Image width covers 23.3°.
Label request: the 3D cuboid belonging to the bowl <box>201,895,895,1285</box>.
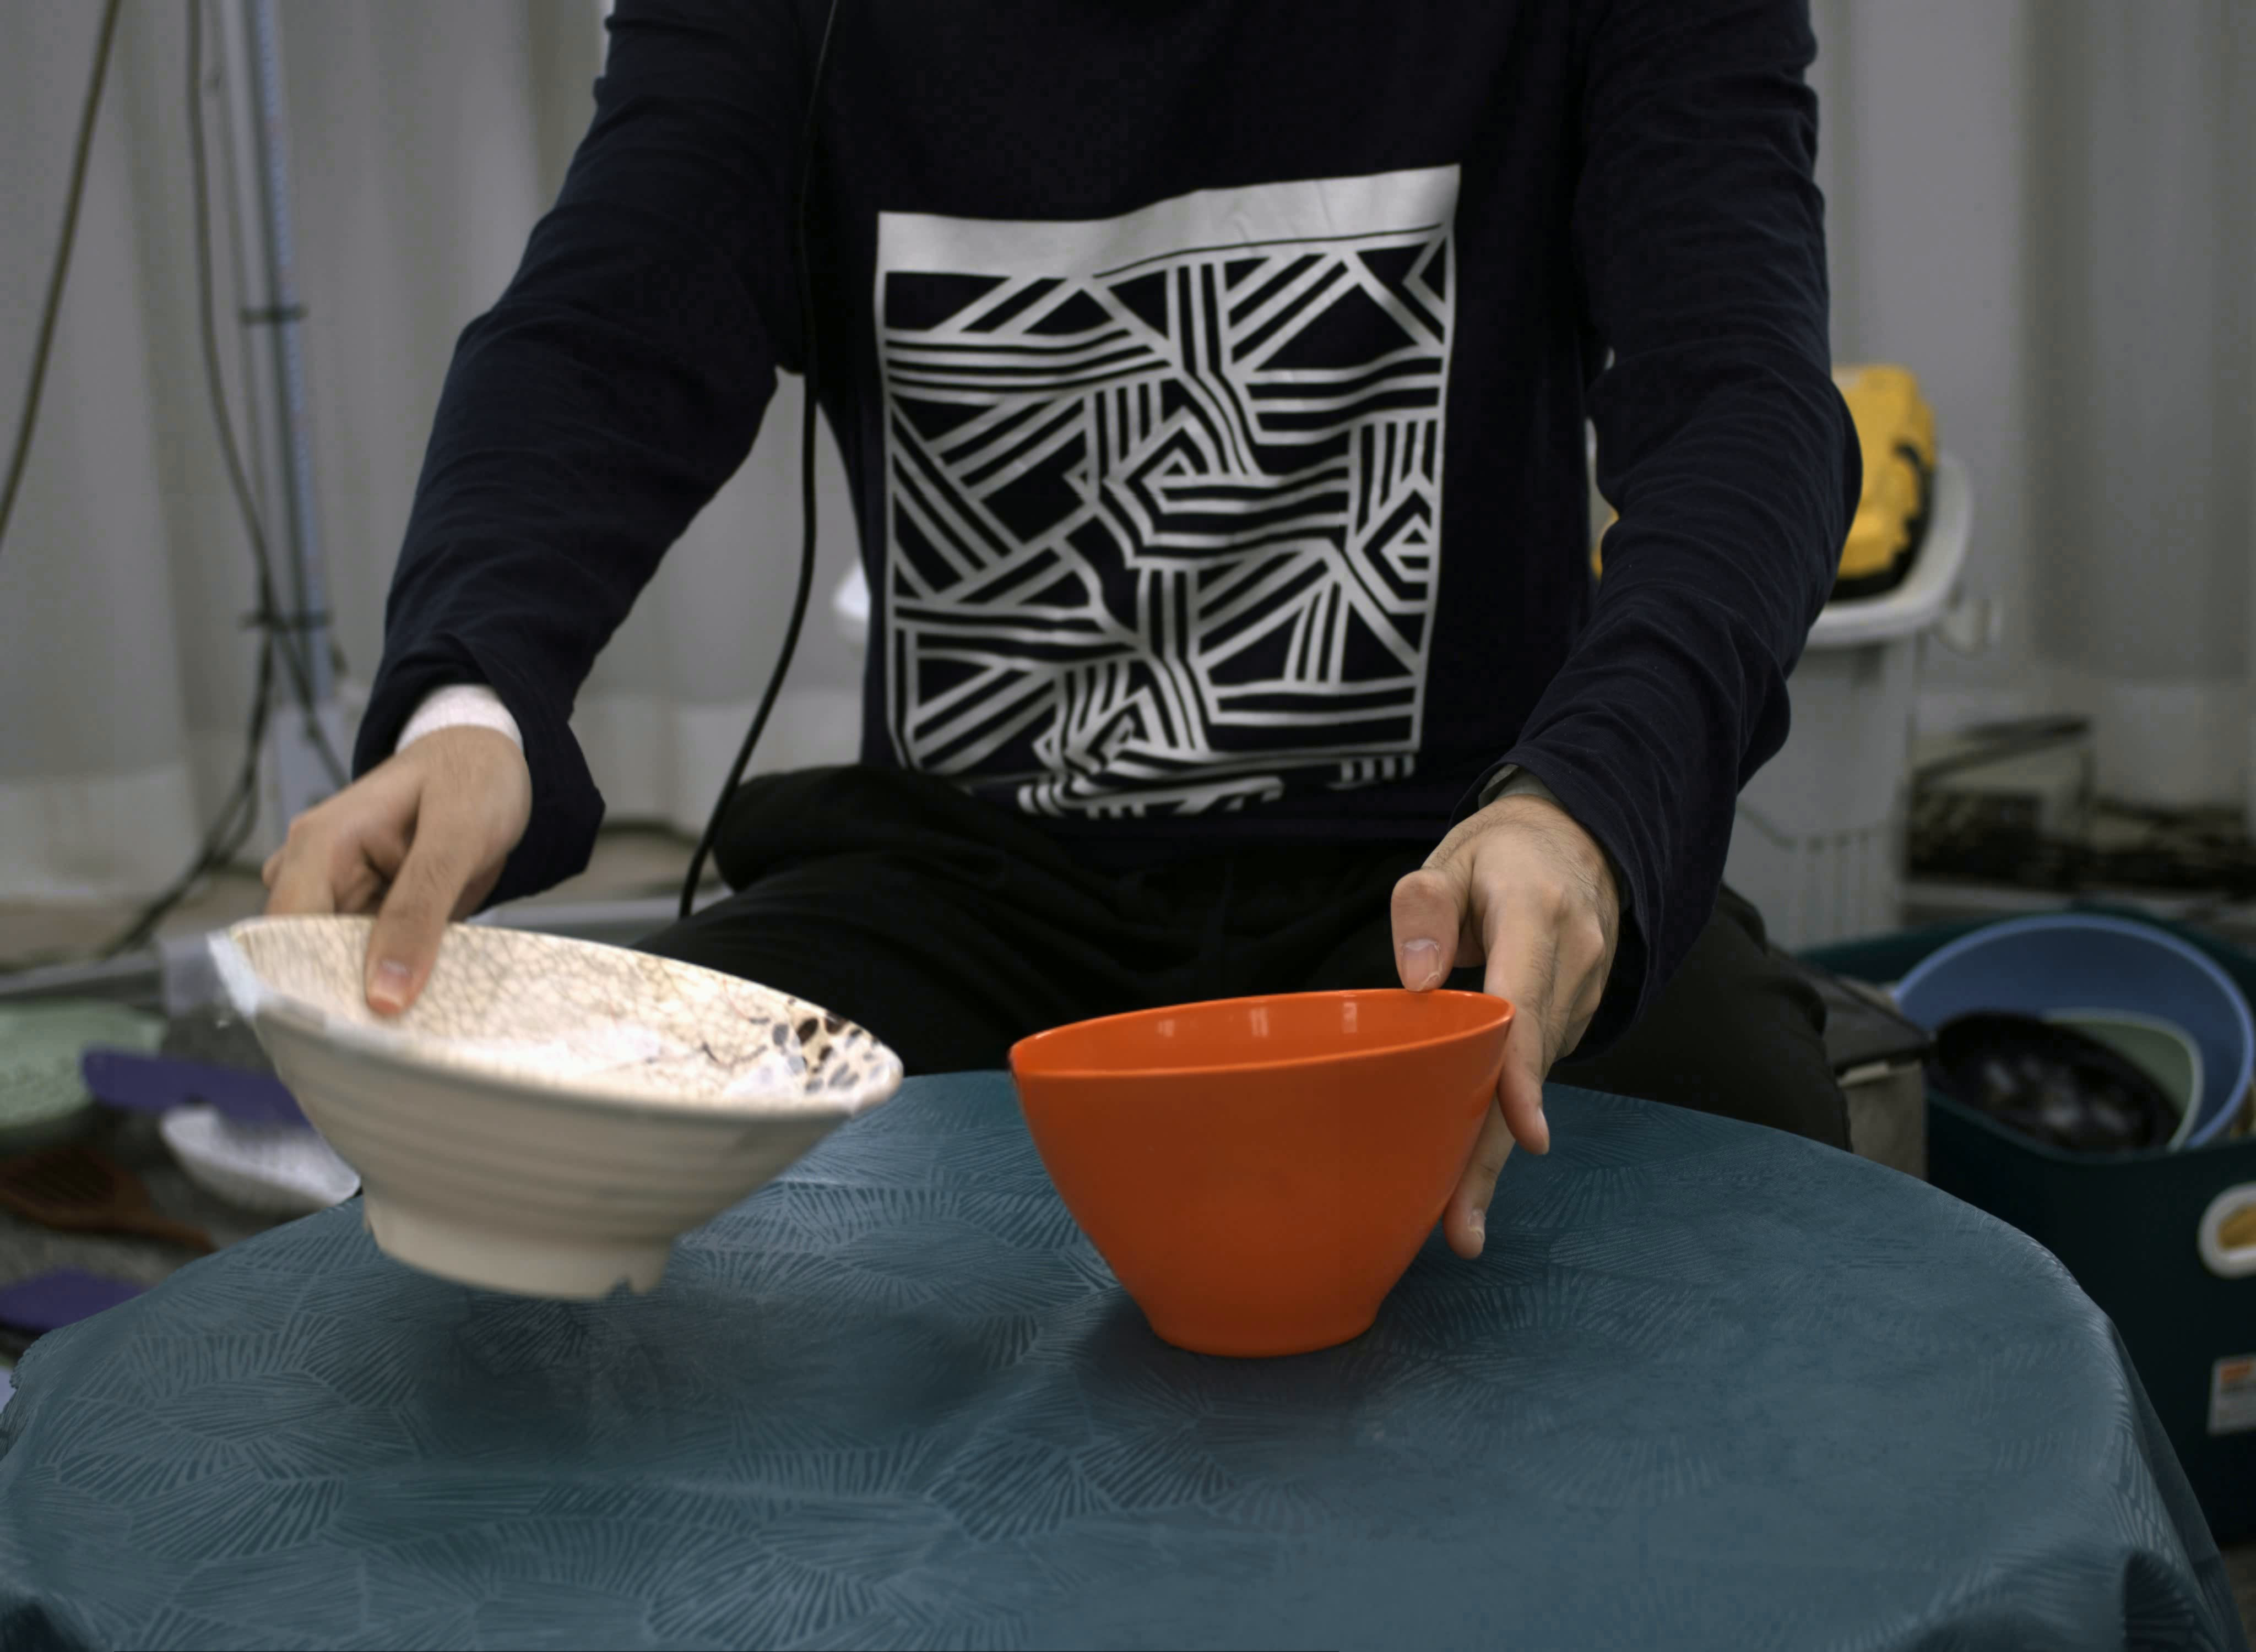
[{"bbox_3d":[-0.173,0.083,1.576,0.203,0.078,0.204,13,6,-2],"label":"bowl"}]

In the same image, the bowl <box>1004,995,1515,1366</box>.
[{"bbox_3d":[0.039,0.099,1.575,0.147,0.104,0.149,-3,13,0],"label":"bowl"}]
